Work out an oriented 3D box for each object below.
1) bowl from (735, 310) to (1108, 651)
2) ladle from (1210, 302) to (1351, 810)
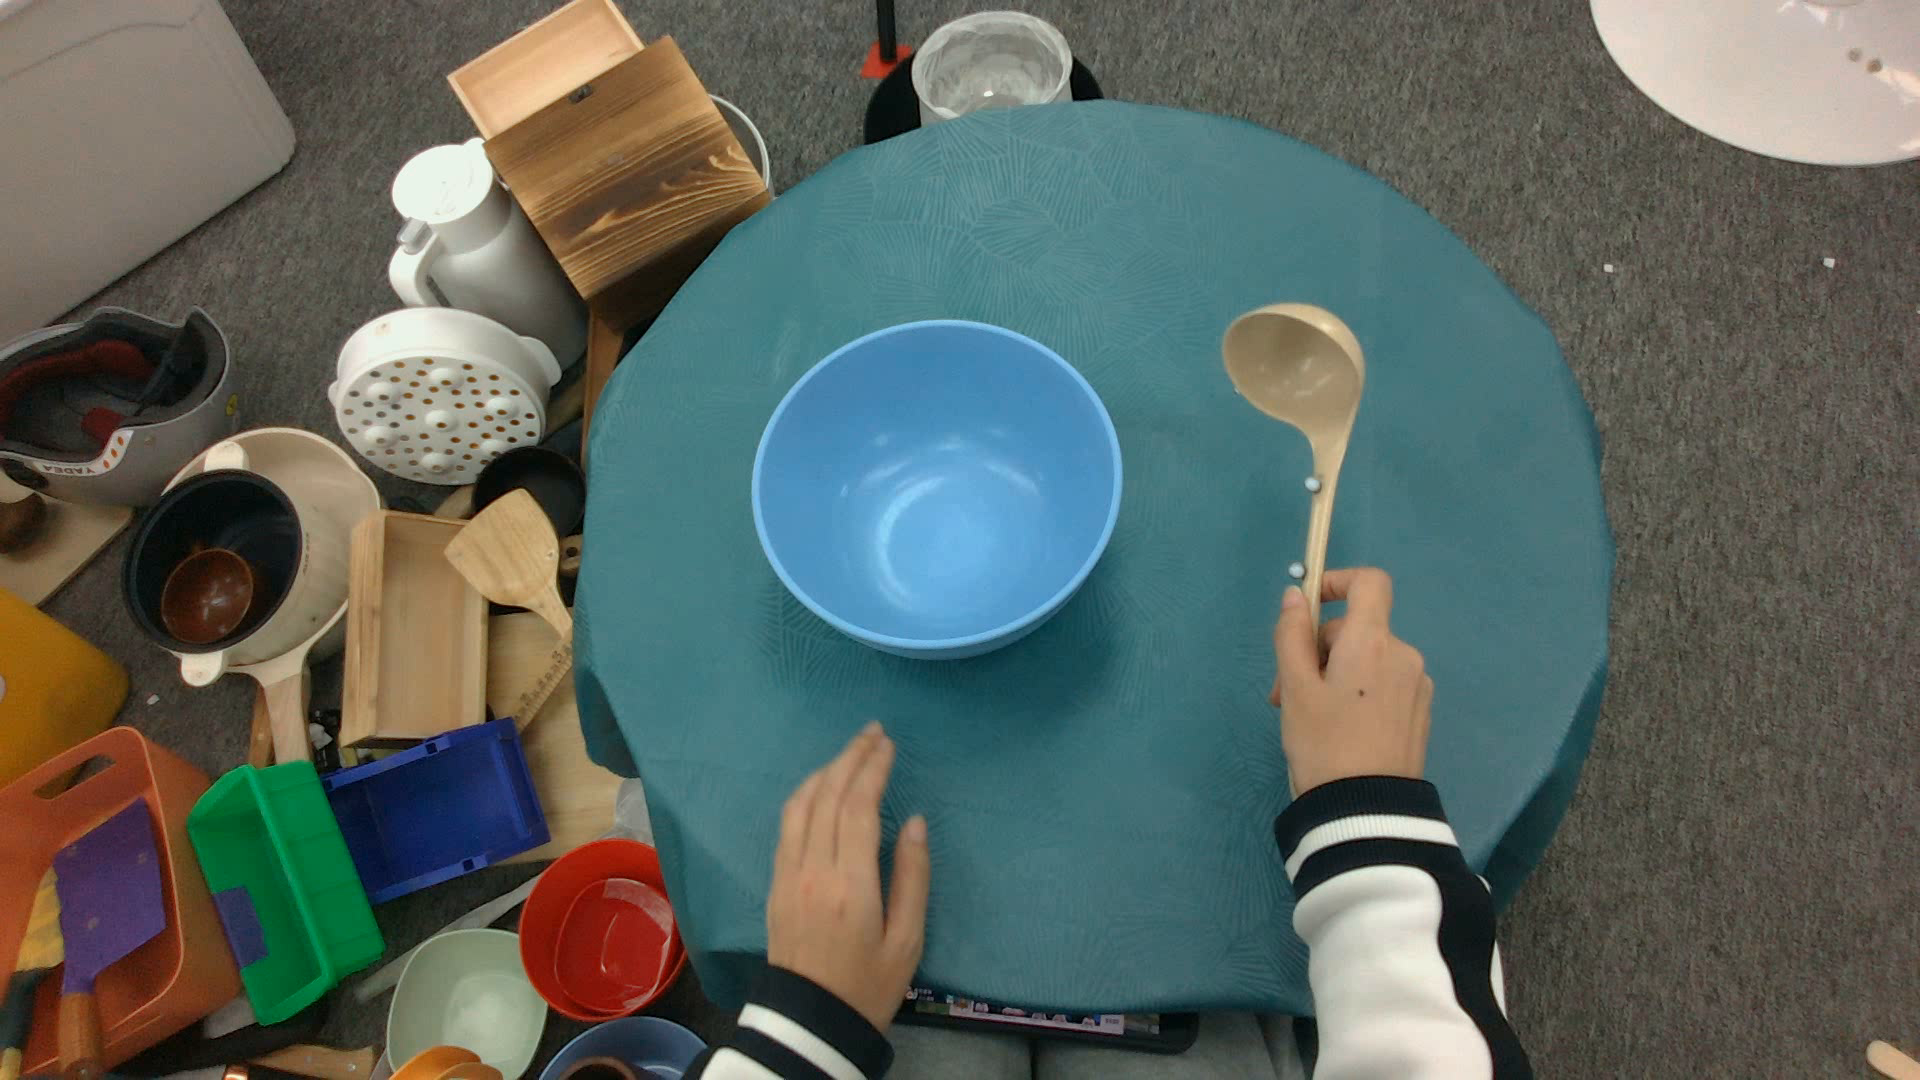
[{"bbox_3d":[-0.019,-0.020,0.764,0.196,0.095,0.197,-1,65,1],"label":"bowl"},{"bbox_3d":[0.153,0.000,0.681,0.073,0.072,0.255,25,62,-33],"label":"ladle"}]
